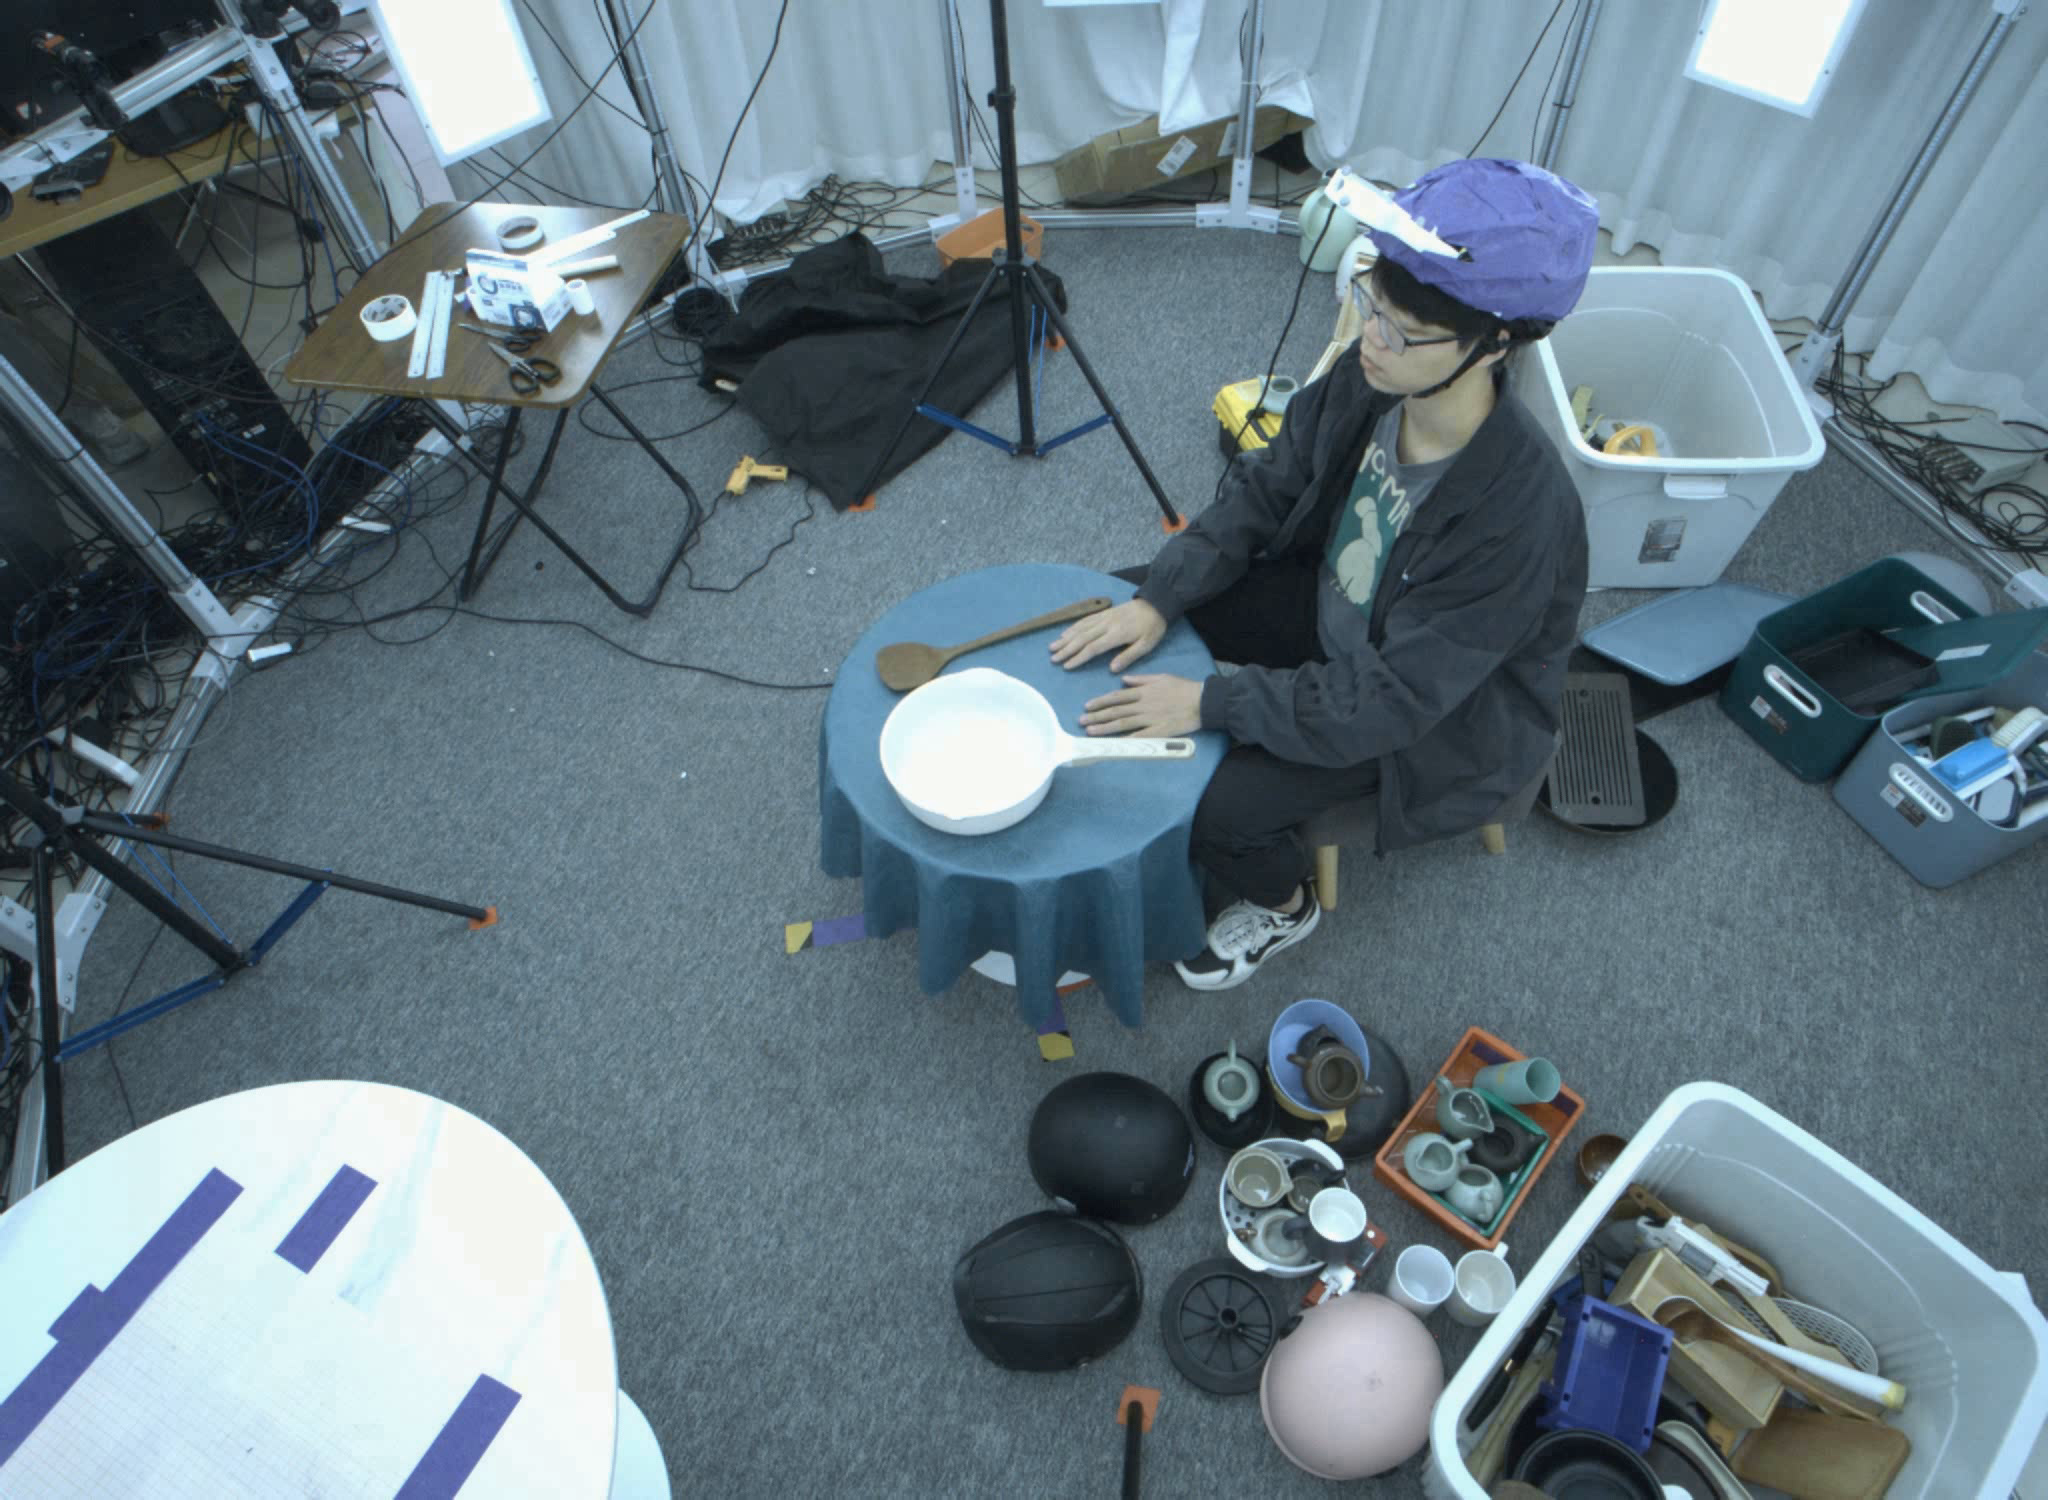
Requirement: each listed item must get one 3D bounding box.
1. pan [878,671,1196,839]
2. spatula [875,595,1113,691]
[{"bbox_3d":[0.018,0.016,1.704,0.433,0.103,0.261,4,53,5],"label":"pan"},{"bbox_3d":[-0.042,-0.178,1.899,0.388,0.016,0.094,-19,57,-12],"label":"spatula"}]
